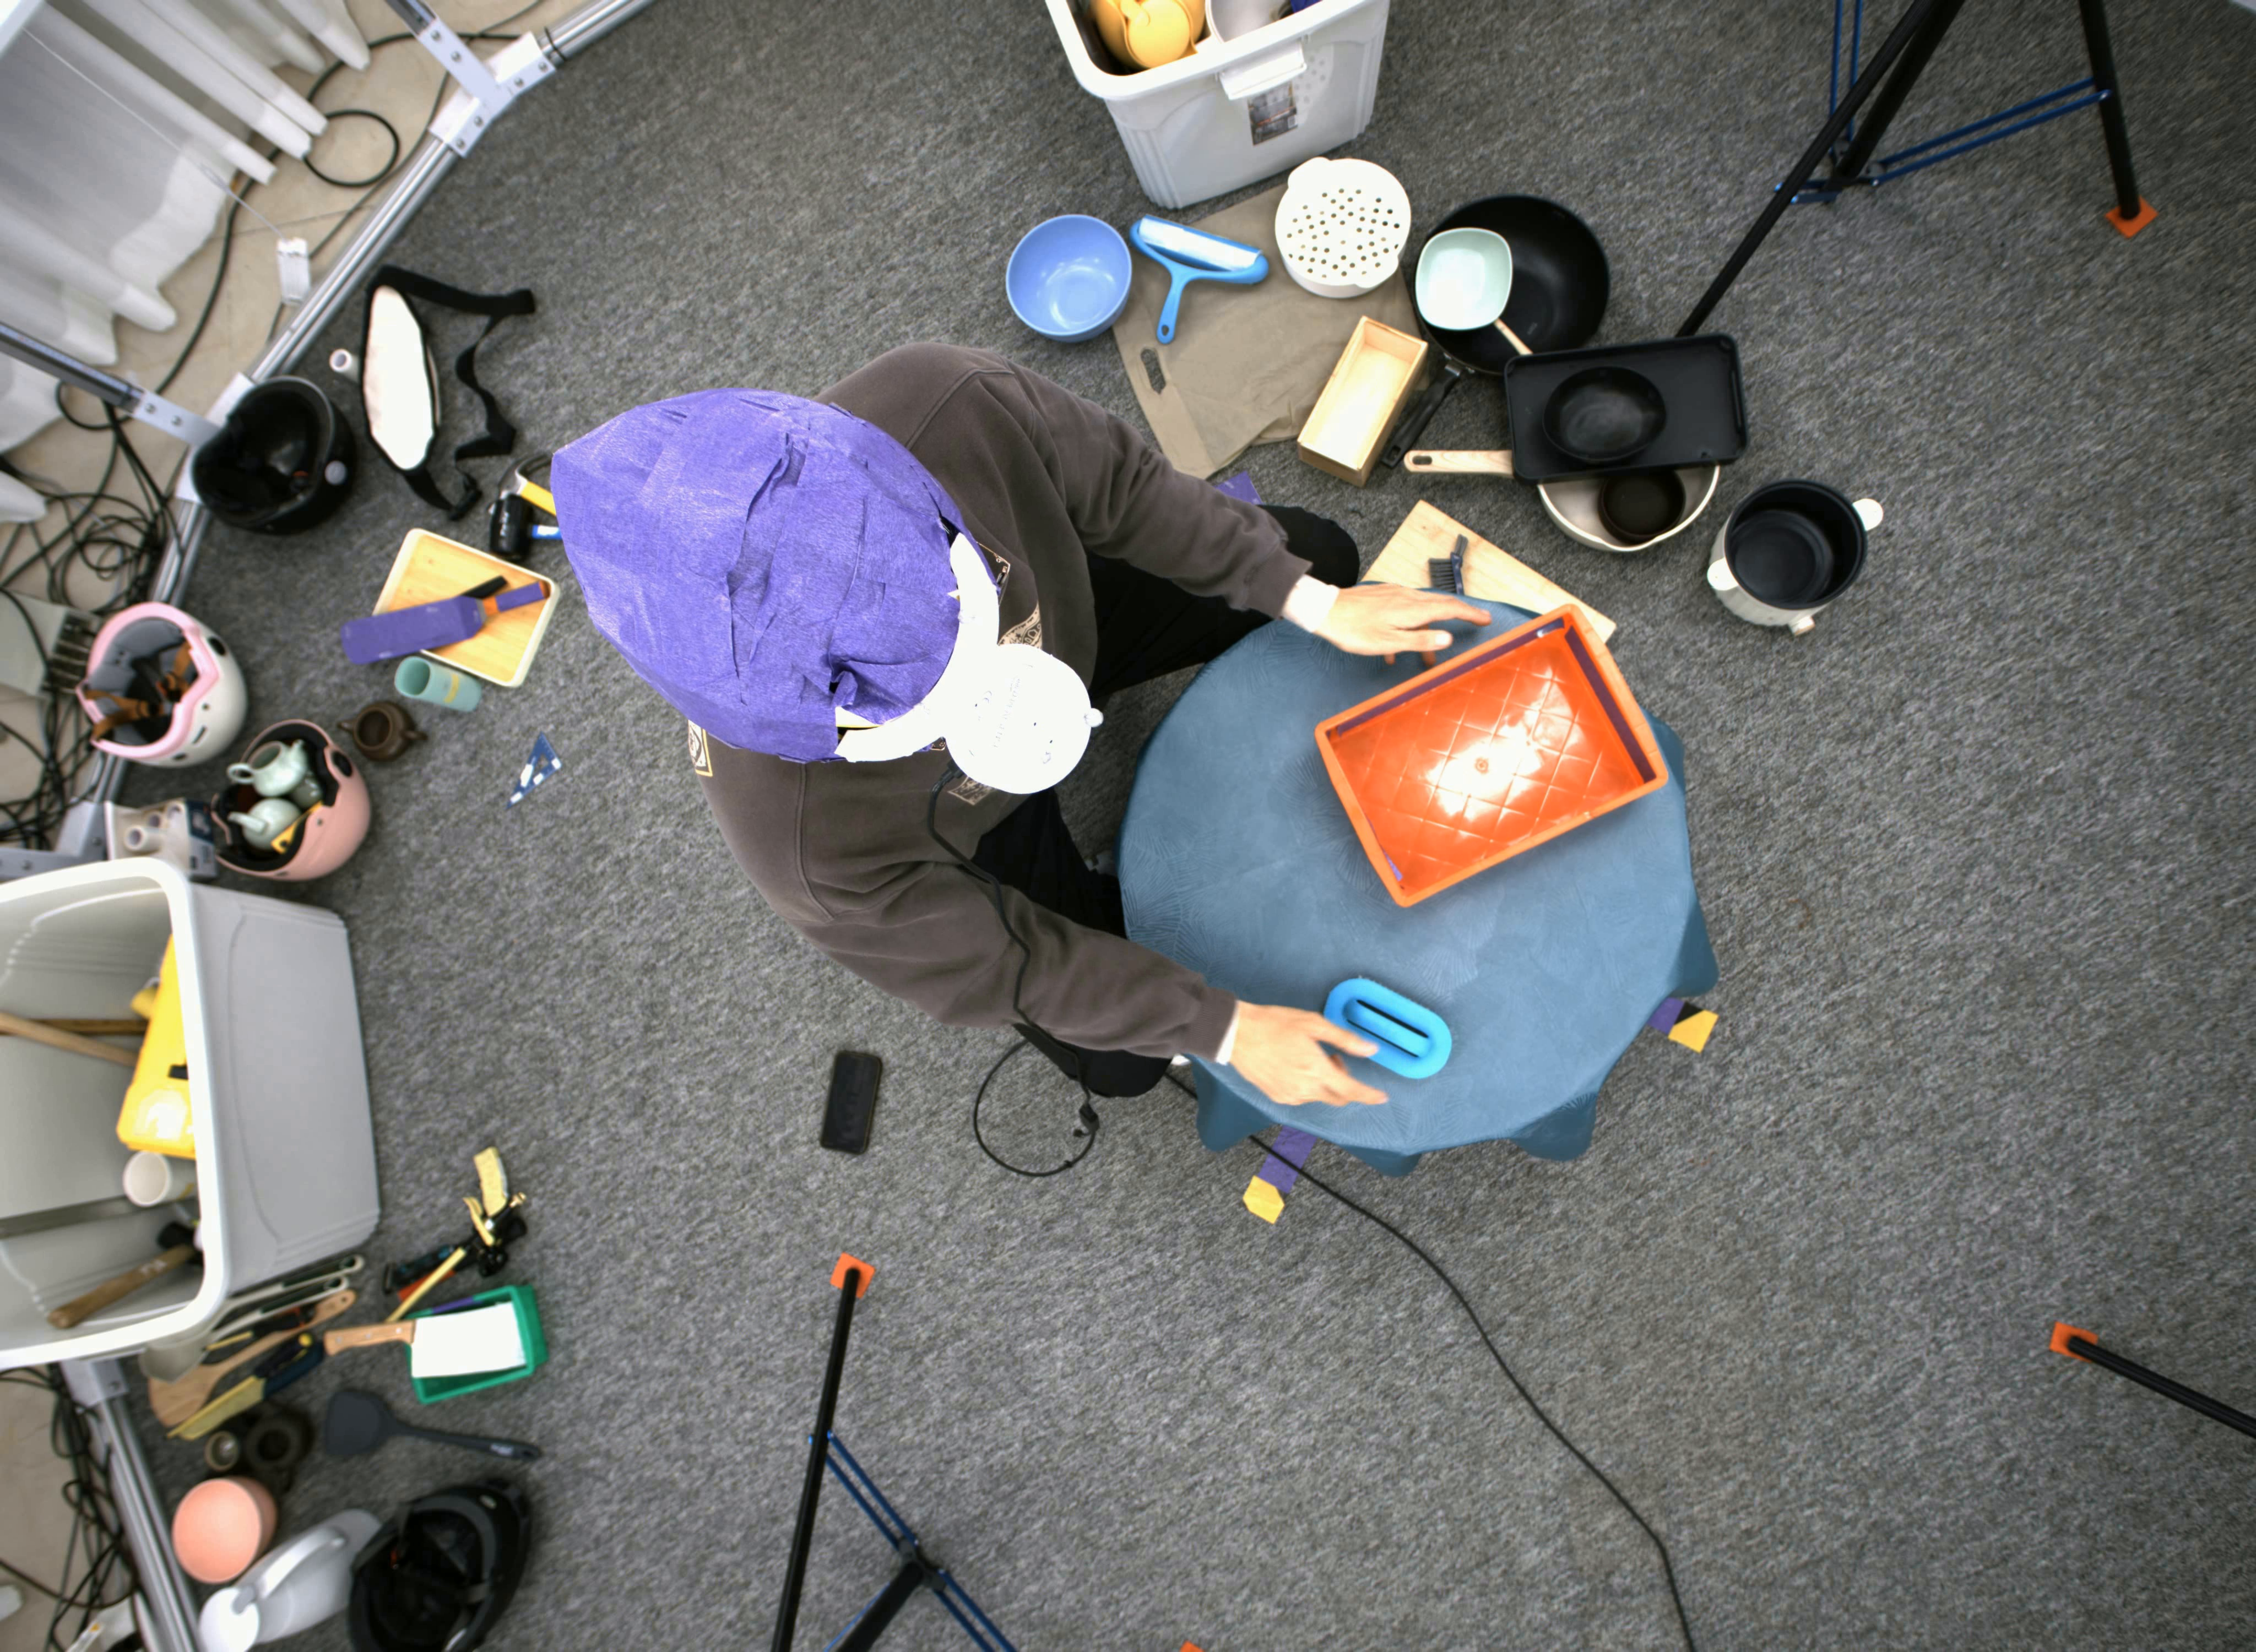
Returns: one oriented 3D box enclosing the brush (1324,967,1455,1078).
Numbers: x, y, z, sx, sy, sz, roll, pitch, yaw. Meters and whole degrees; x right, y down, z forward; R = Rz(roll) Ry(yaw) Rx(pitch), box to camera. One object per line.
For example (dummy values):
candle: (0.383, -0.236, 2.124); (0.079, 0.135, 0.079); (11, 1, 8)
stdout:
brush: (0.266, 0.202, 1.419); (0.141, 0.063, 0.085); (29, 96, 12)

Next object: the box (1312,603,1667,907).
box: (0.363, -0.069, 1.403); (0.305, 0.096, 0.205); (-25, 83, 8)
